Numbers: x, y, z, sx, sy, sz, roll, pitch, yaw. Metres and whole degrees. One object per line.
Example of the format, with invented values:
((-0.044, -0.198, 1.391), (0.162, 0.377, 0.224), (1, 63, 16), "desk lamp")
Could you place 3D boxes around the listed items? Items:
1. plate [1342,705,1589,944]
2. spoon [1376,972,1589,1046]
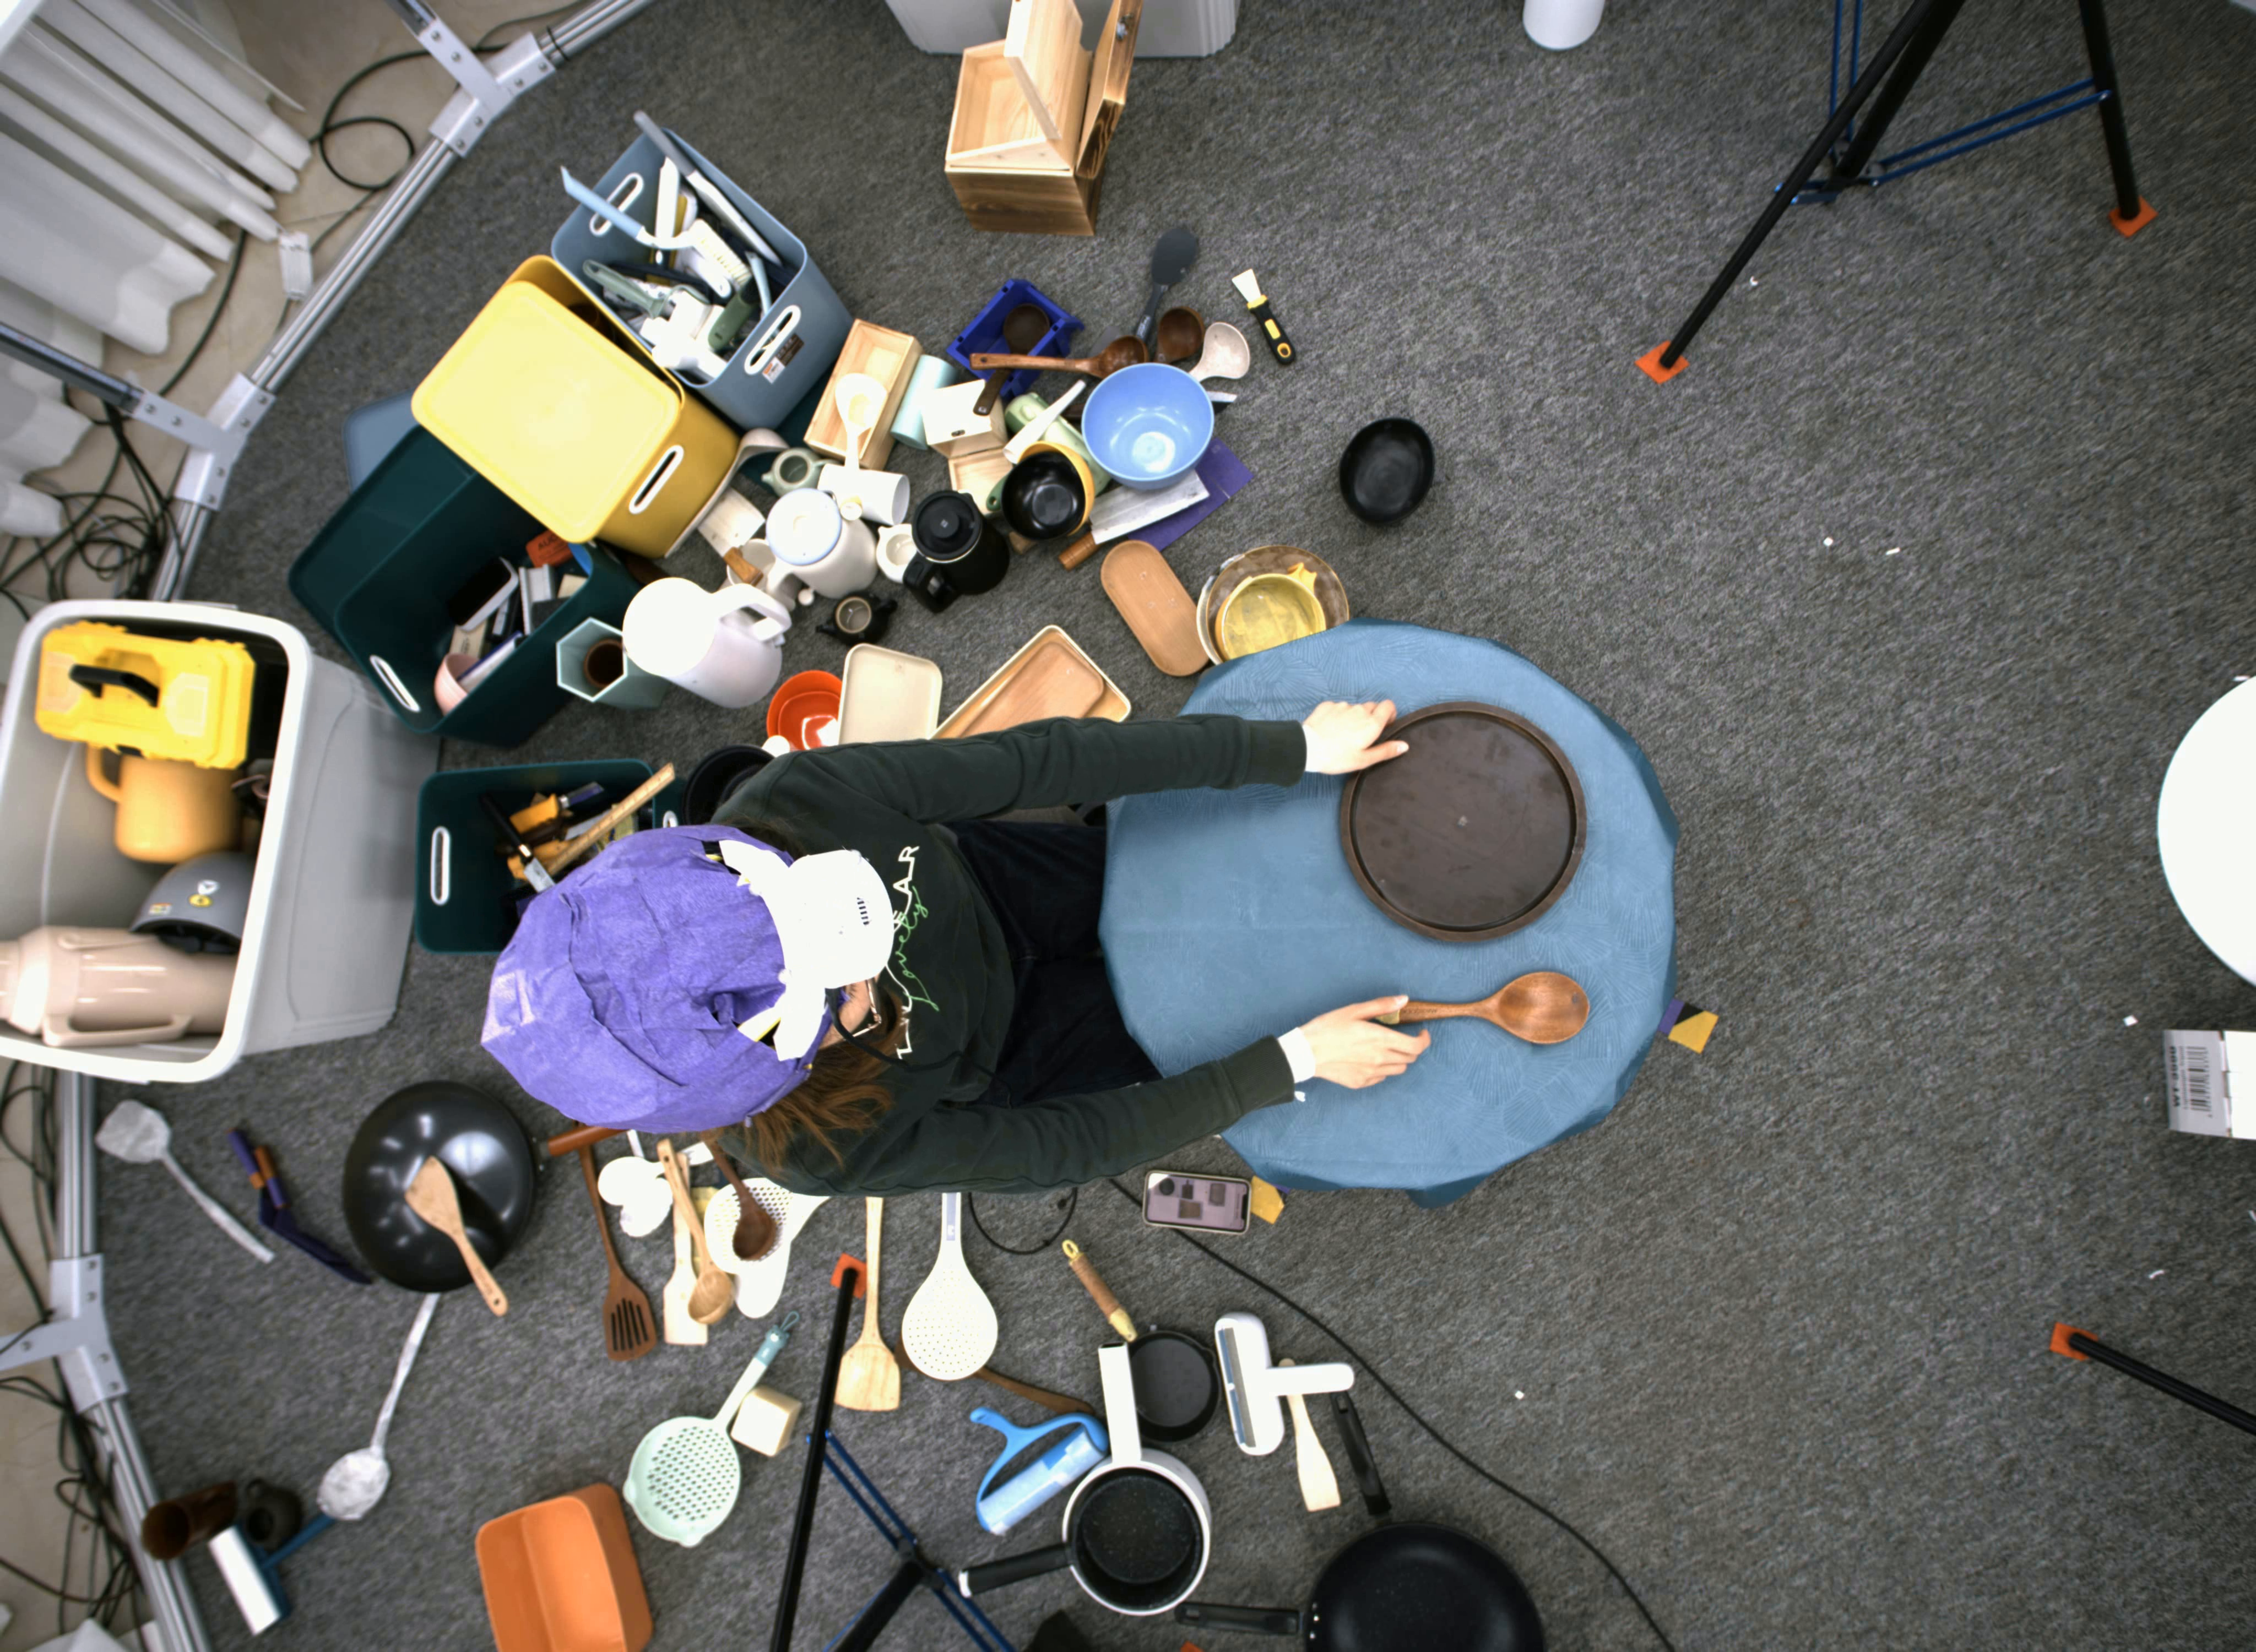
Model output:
((0.352, -0.004, 1.444), (0.256, 0.029, 0.253), (-1, 85, 9), "plate")
((0.366, 0.190, 1.430), (0.217, 0.017, 0.075), (-4, 86, 10), "spoon")
